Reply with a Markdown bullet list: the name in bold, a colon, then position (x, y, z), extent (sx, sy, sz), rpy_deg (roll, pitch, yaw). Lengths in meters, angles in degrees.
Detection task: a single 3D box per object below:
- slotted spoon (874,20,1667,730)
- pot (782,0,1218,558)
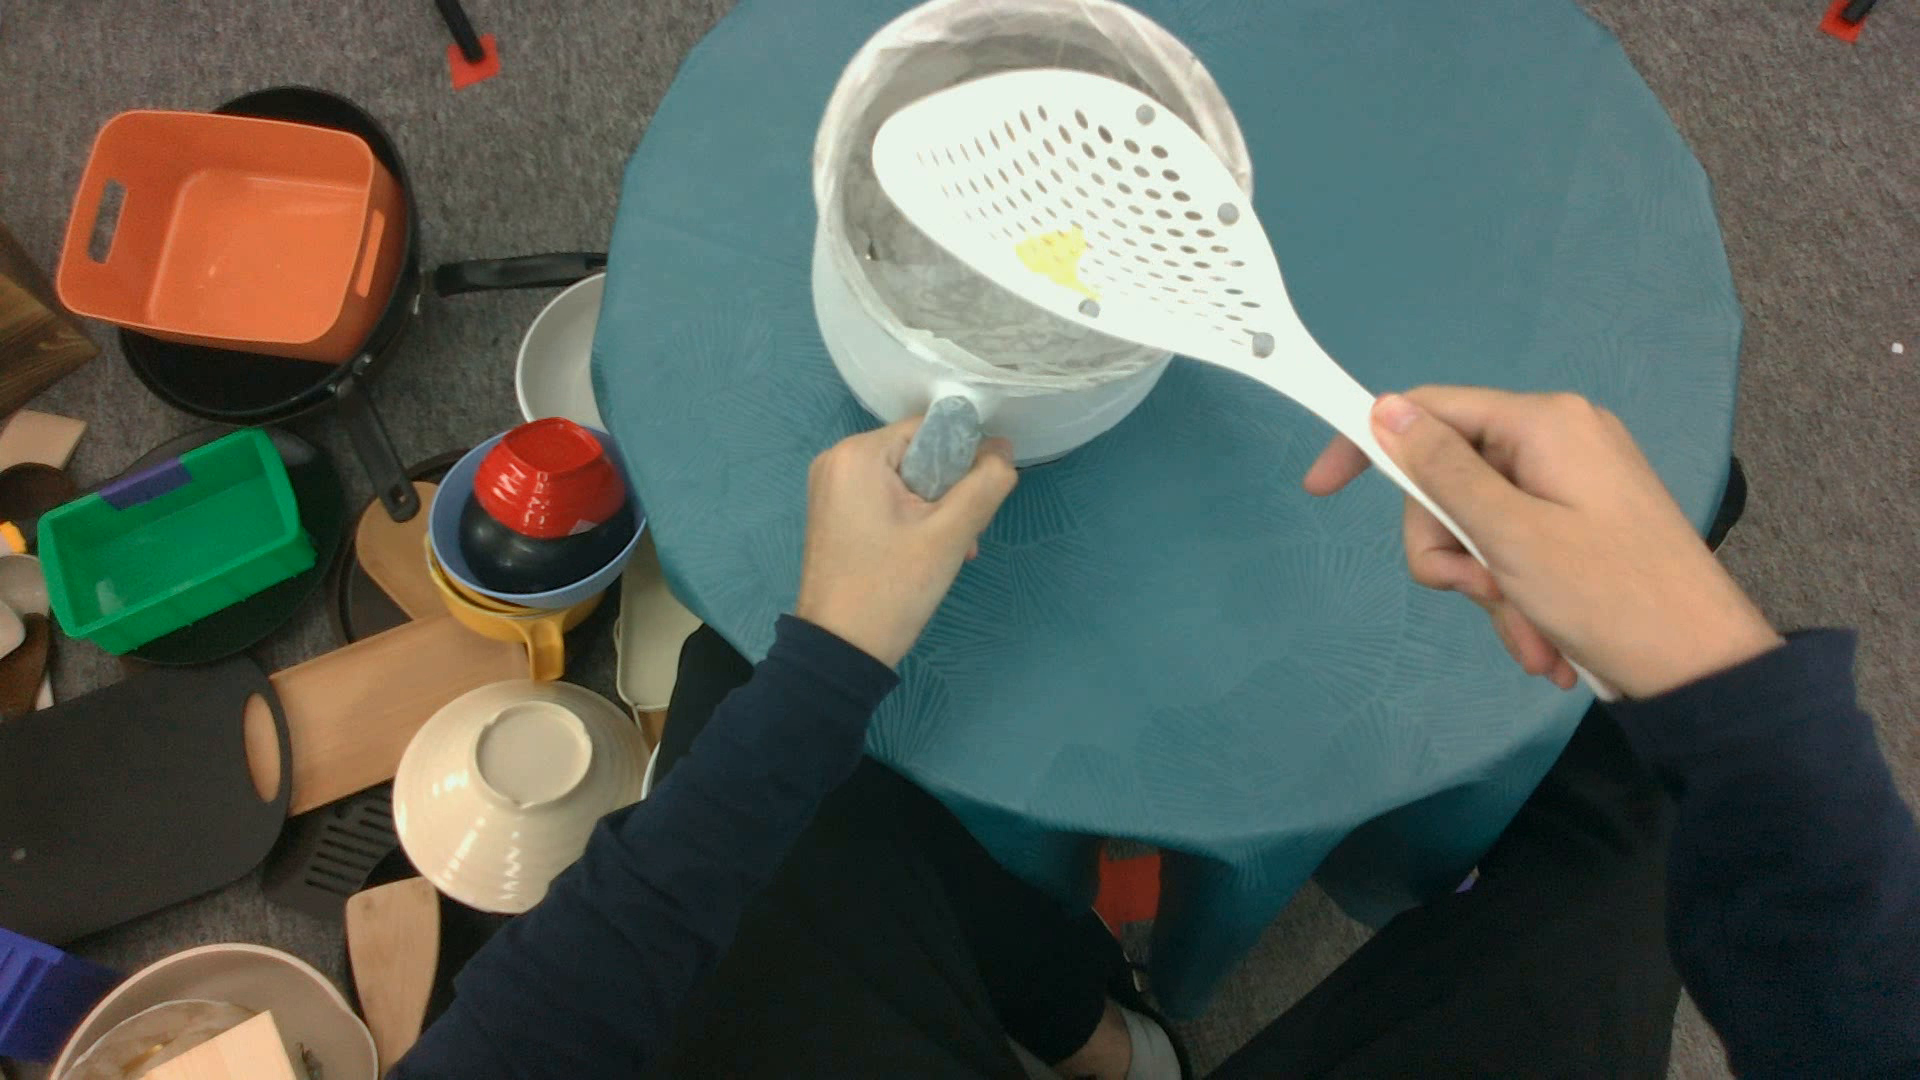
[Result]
- **slotted spoon**: position (0.105, -0.067, 0.478), extent (0.137, 0.050, 0.348), rpy_deg (-29, 63, -35)
- **pot**: position (0.005, -0.110, 0.605), extent (0.179, 0.136, 0.234), rpy_deg (16, 75, -1)
